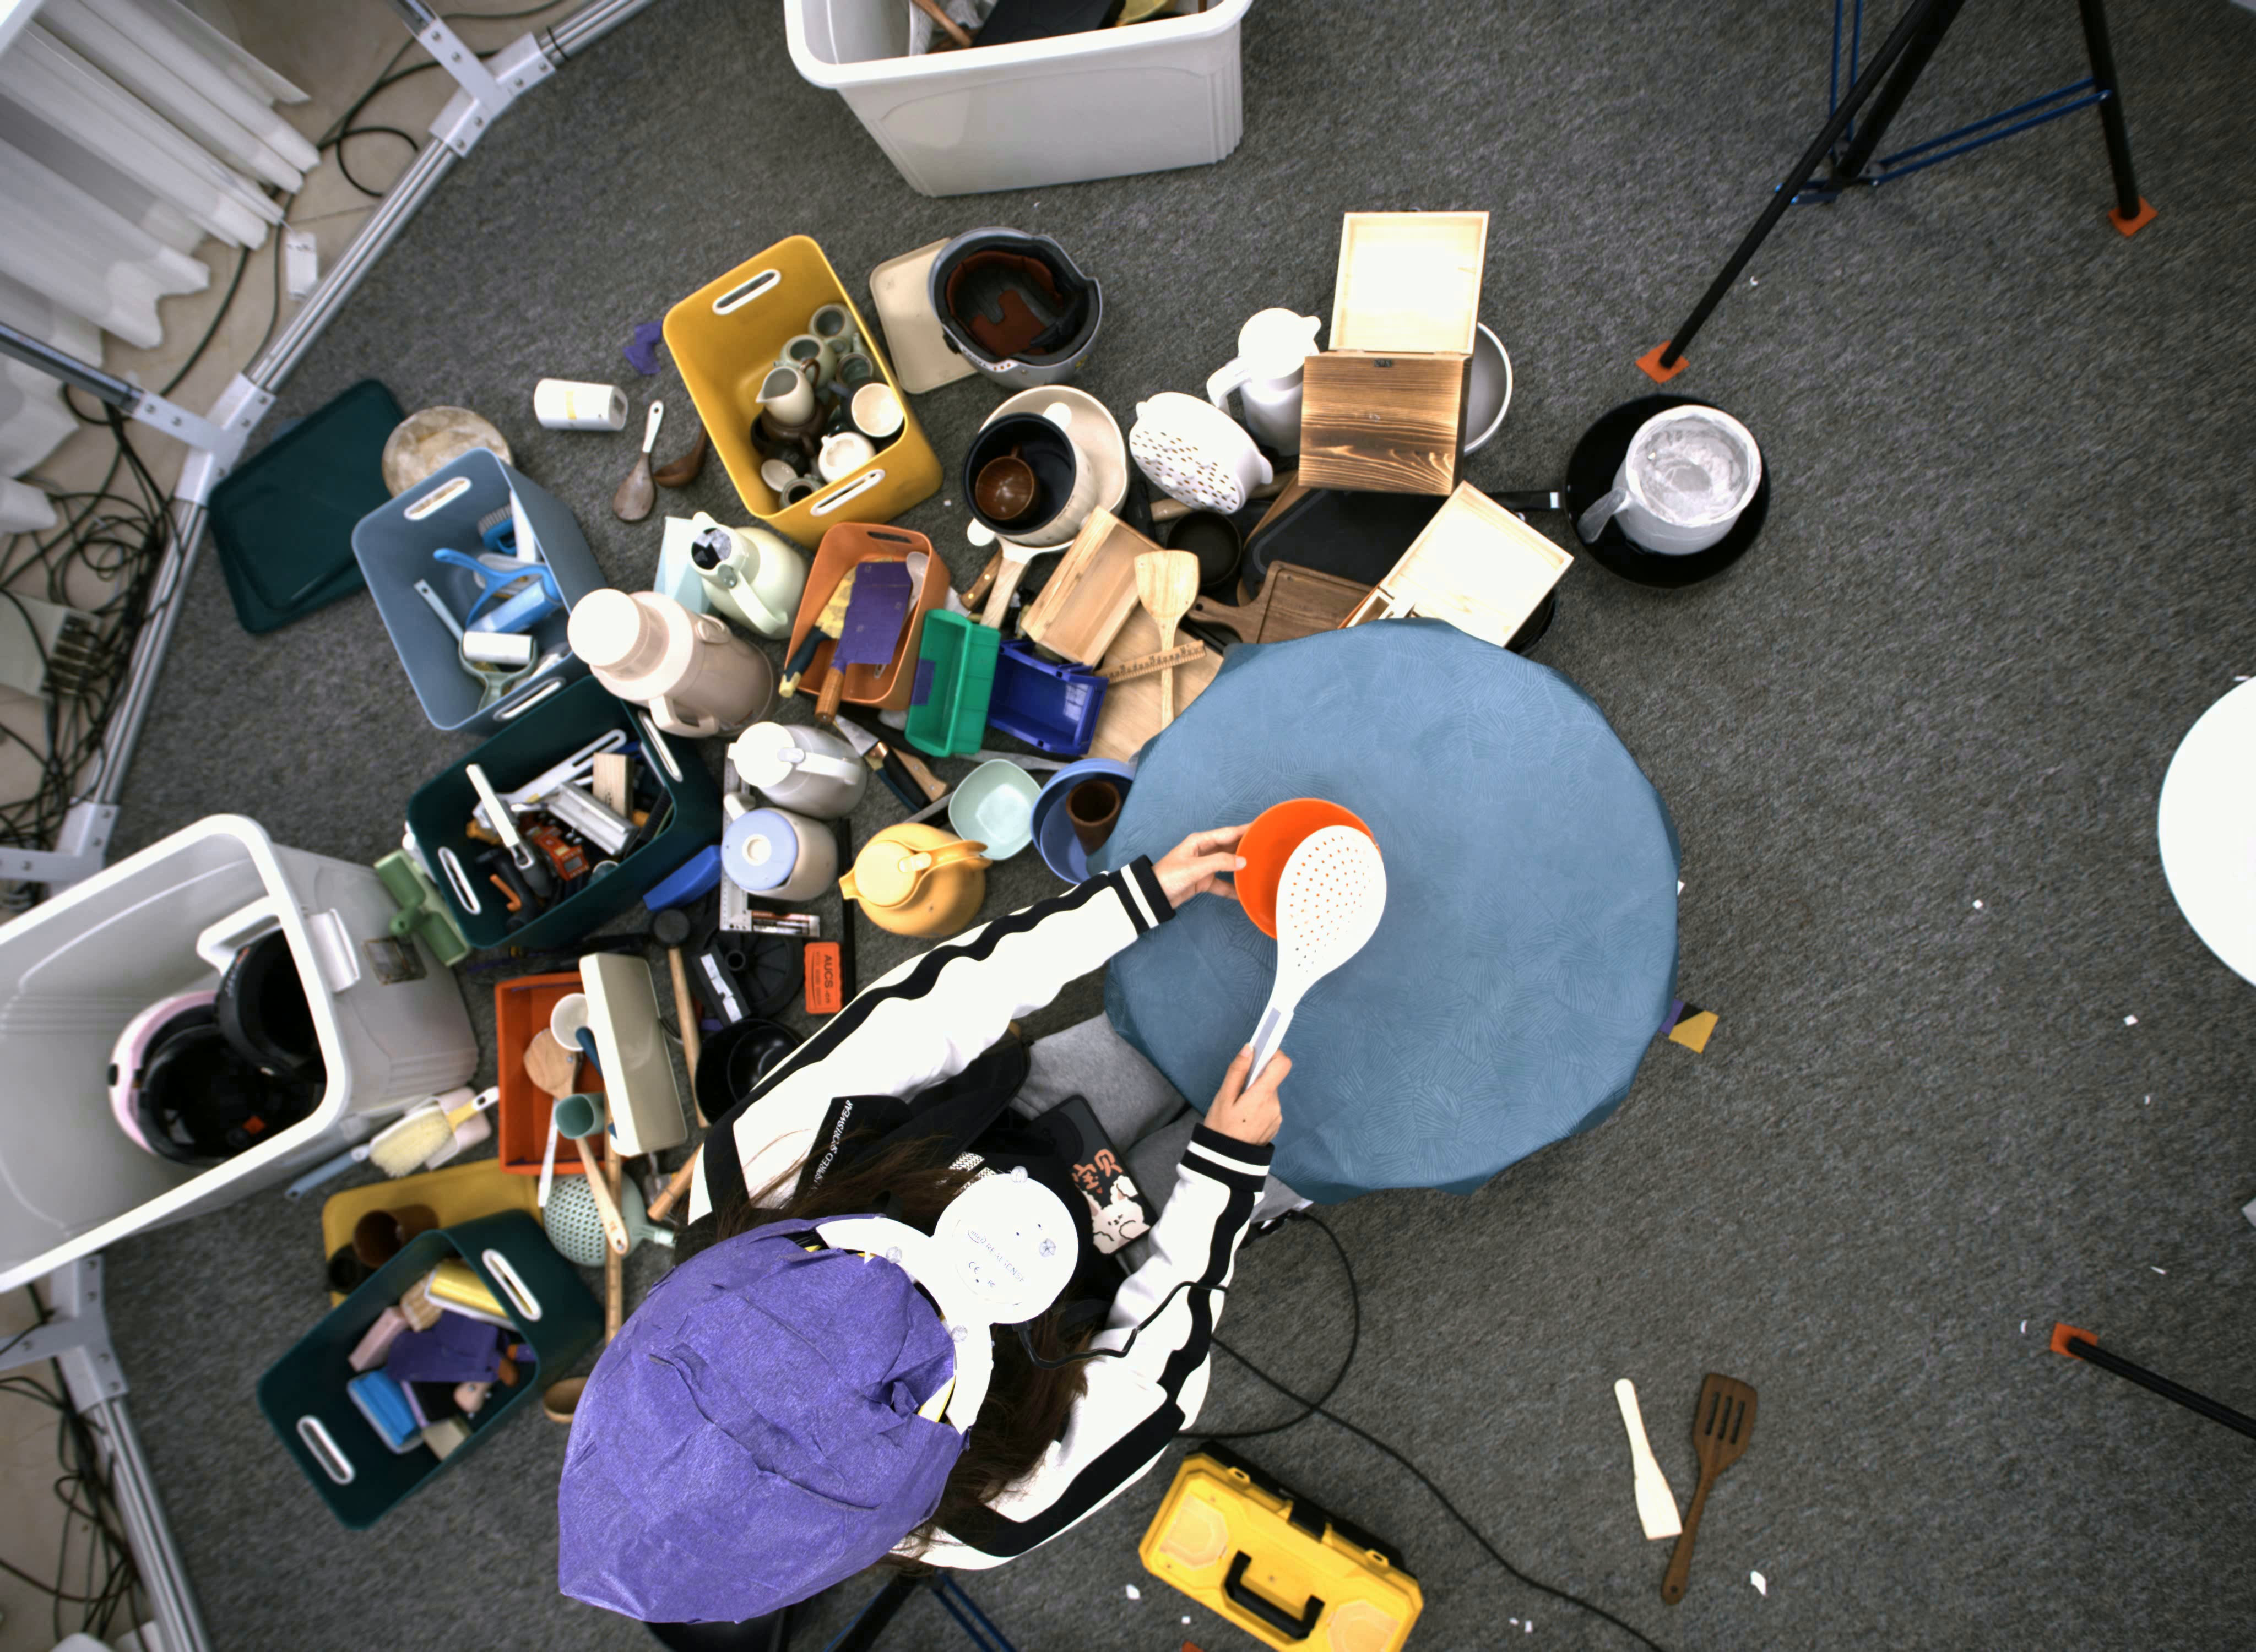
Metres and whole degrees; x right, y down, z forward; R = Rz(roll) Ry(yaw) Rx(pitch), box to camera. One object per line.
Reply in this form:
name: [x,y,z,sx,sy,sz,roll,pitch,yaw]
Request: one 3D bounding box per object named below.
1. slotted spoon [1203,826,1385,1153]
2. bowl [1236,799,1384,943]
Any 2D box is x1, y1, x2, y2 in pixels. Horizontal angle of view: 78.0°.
slotted spoon: [0.155,0.165,1.357,0.134,0.046,0.352,38,104,49]
bowl: [0.185,0.050,1.418,0.148,0.105,0.147,0,87,7]
